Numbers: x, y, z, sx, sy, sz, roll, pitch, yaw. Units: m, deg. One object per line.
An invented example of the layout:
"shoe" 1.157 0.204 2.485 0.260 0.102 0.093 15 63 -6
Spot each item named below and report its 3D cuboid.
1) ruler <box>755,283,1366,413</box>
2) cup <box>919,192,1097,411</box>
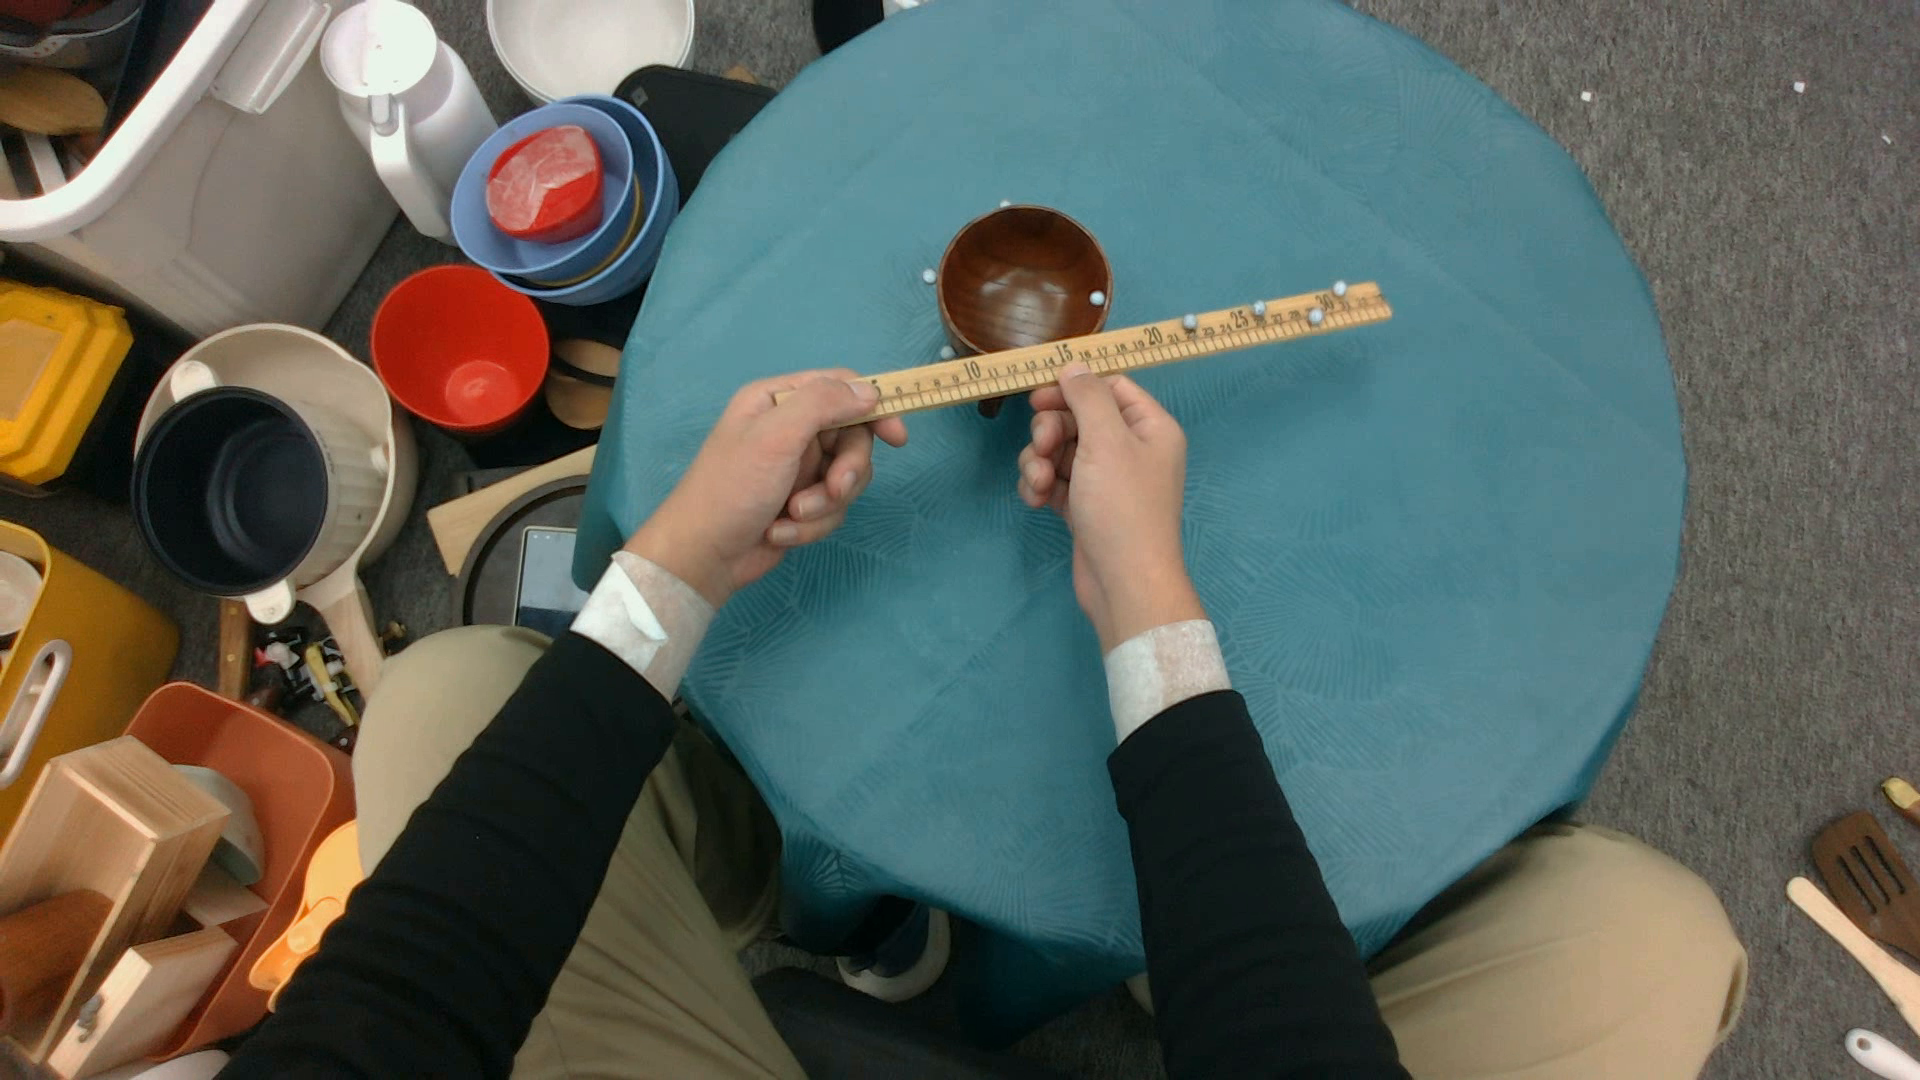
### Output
"ruler" 0.060 -0.103 0.713 0.332 0.022 0.027 -11 55 -14
"cup" 0.021 -0.123 0.760 0.096 0.067 0.120 16 74 2
